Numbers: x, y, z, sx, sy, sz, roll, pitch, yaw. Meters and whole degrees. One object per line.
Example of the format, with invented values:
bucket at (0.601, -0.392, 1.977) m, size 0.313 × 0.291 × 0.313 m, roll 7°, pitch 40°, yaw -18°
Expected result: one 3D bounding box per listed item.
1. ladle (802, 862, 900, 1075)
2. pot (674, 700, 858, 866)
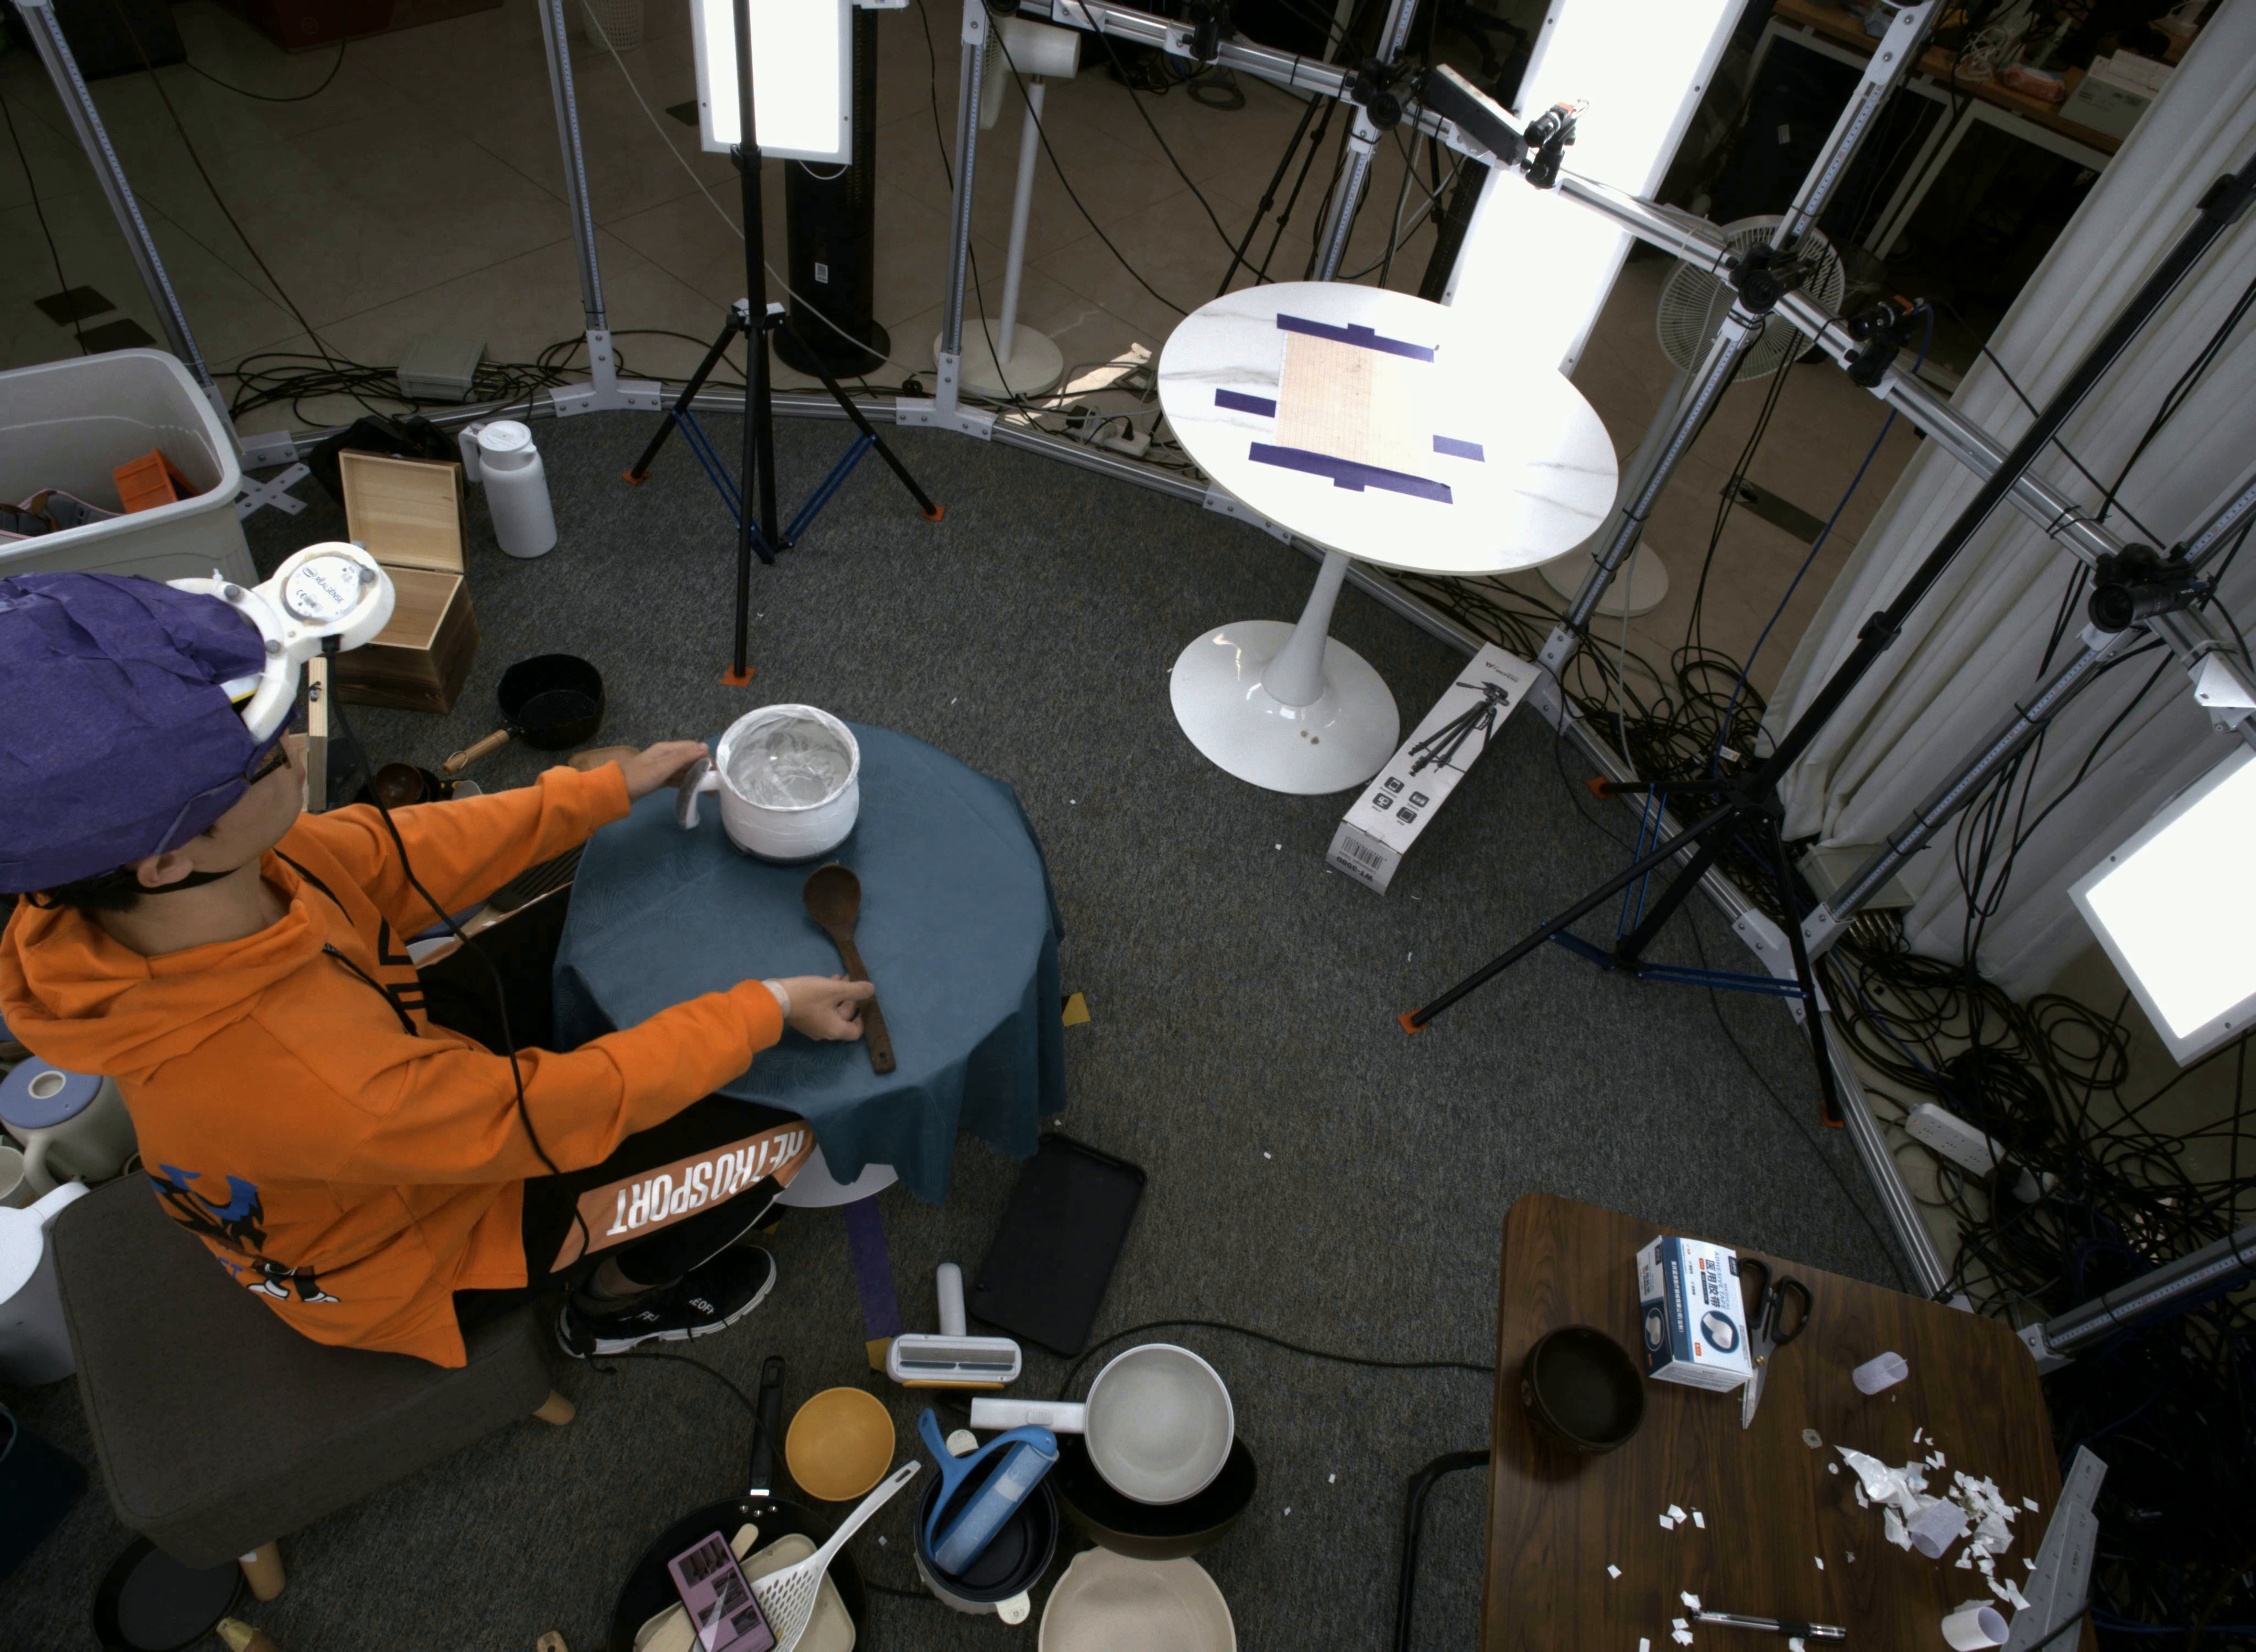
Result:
ladle at (-0.328, 0.164, 1.571) m, size 0.076 × 0.073 × 0.267 m, roll -15°, pitch 58°, yaw -20°
pot at (-0.463, -0.048, 1.651) m, size 0.235 × 0.139 × 0.174 m, roll -8°, pitch 55°, yaw -20°
